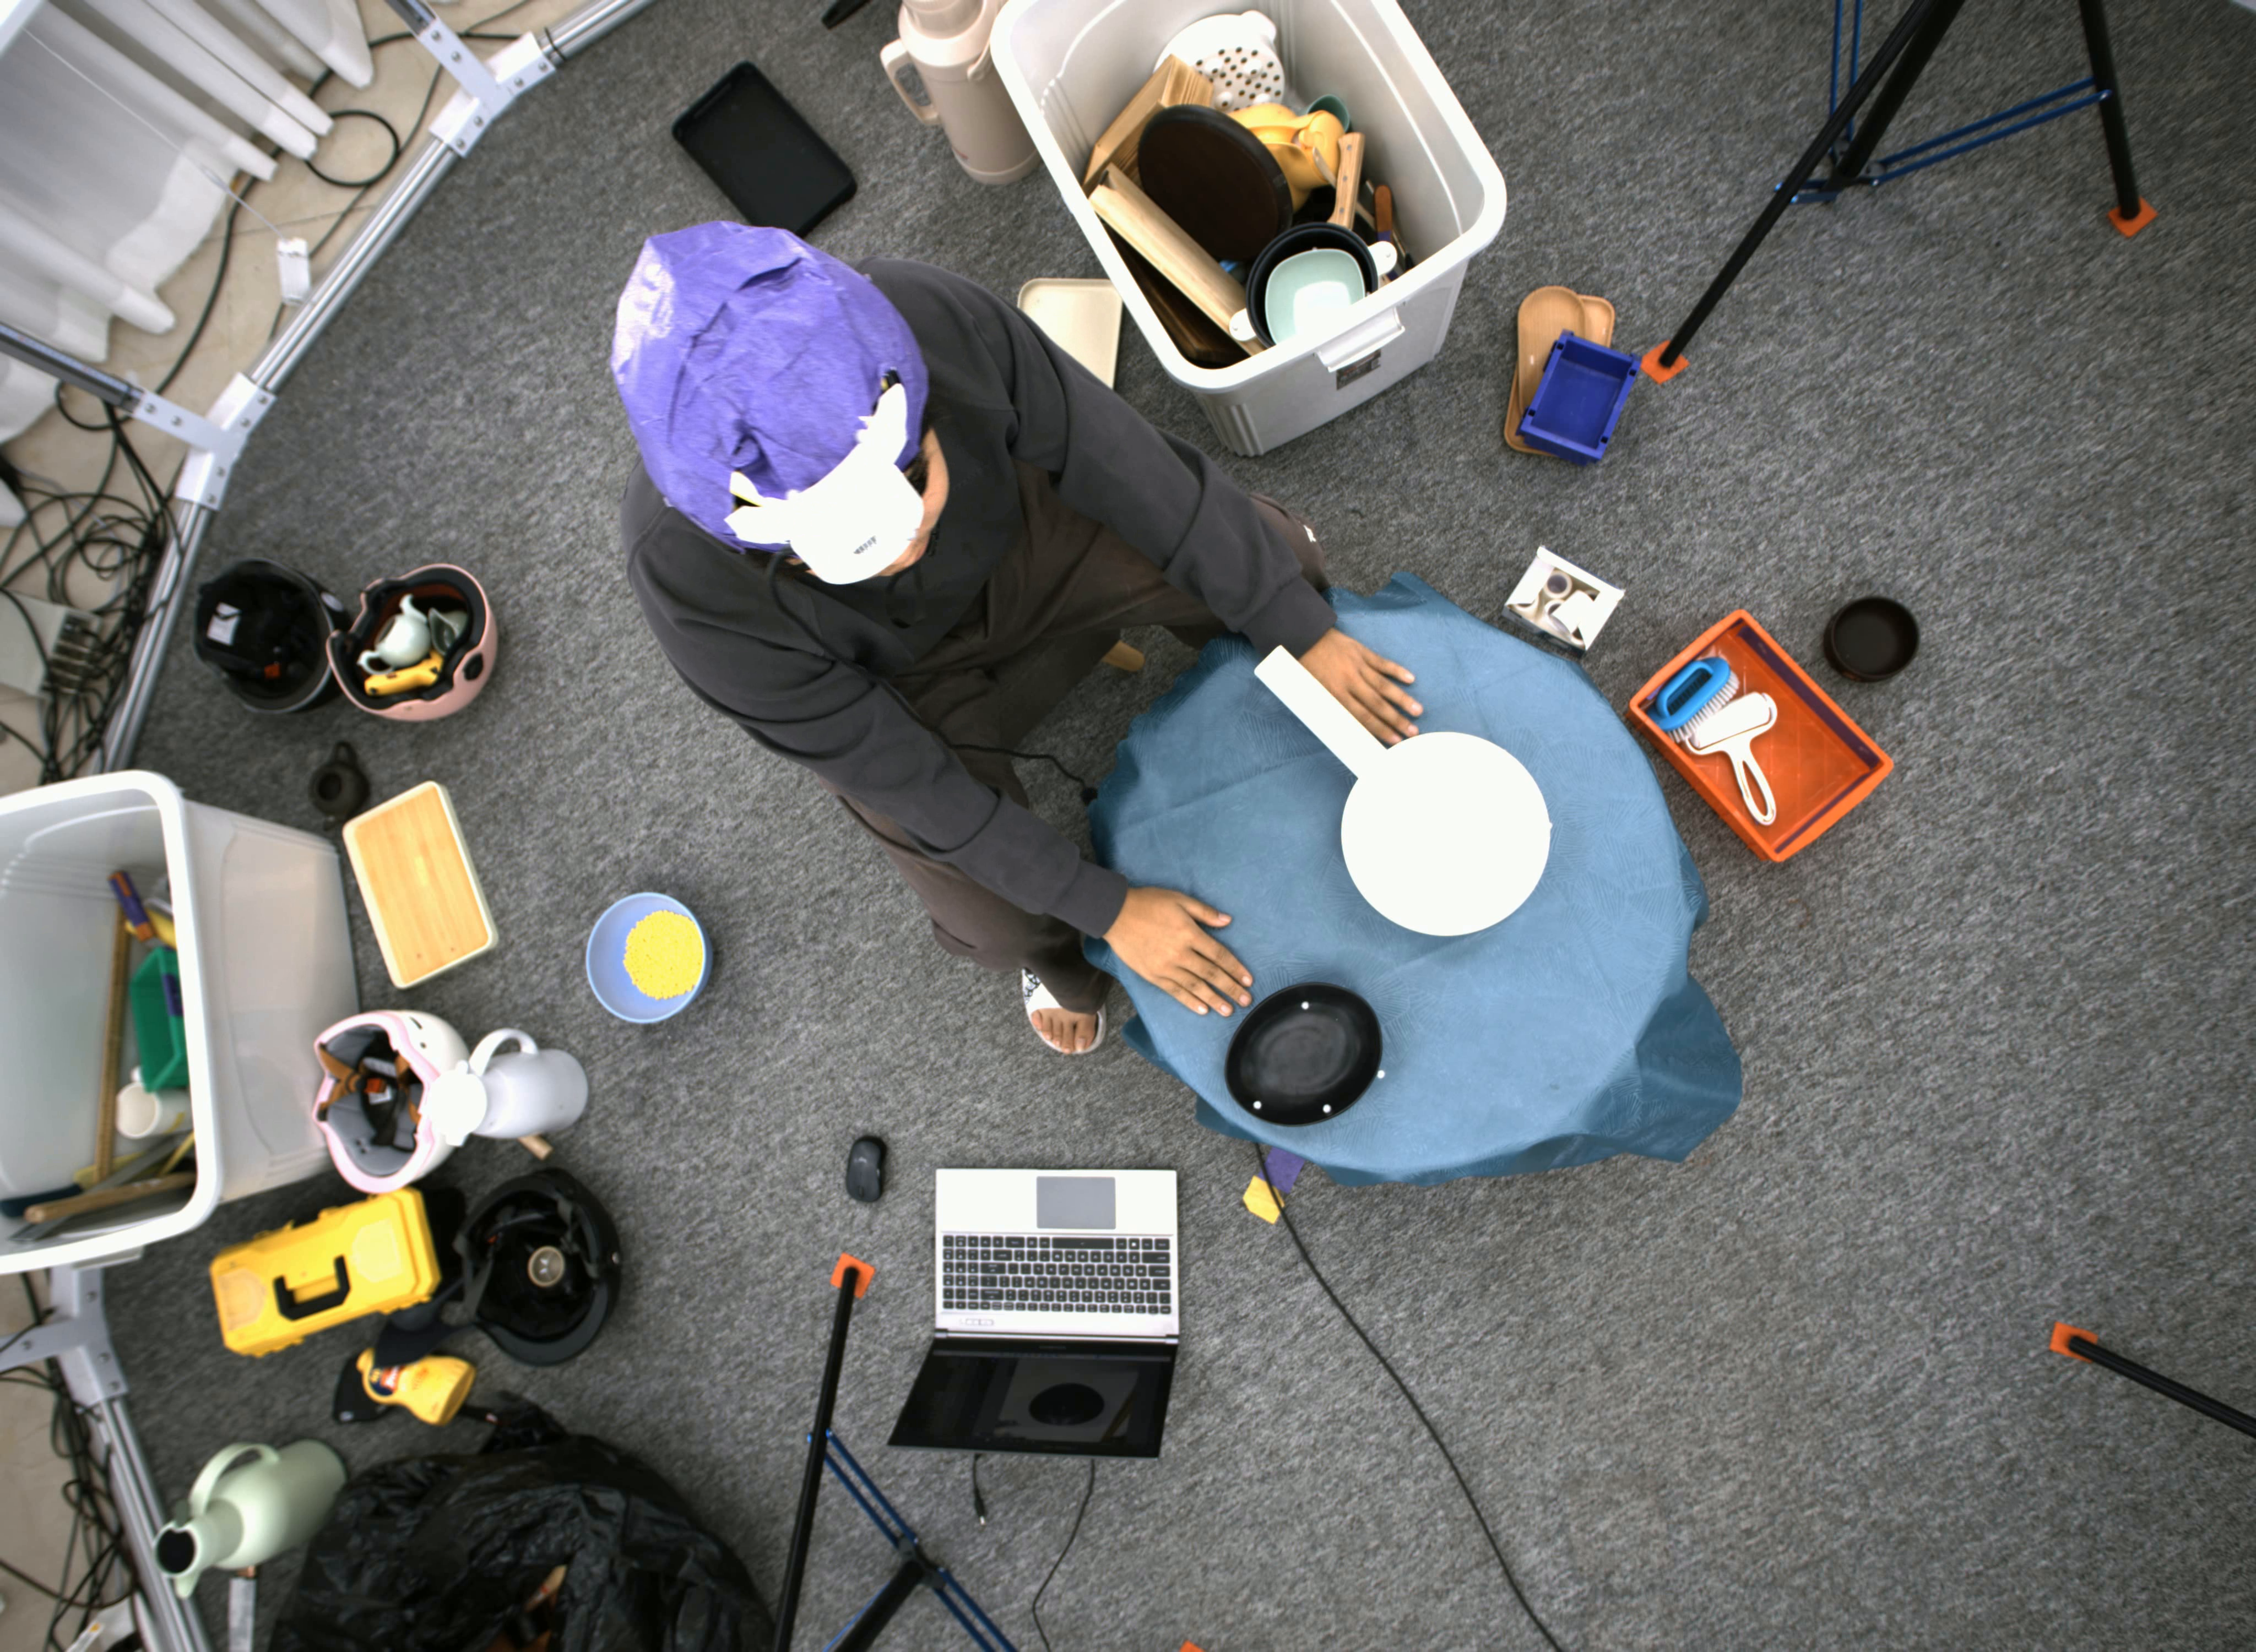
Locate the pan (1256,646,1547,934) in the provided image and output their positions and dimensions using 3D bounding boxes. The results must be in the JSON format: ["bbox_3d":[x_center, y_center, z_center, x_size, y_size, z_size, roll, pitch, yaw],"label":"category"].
[{"bbox_3d":[0.270,-0.044,1.423,0.202,0.102,0.352,-45,78,7],"label":"pan"}]

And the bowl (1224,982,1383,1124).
[{"bbox_3d":[0.183,0.234,1.435,0.171,0.066,0.136,-33,81,9],"label":"bowl"}]
